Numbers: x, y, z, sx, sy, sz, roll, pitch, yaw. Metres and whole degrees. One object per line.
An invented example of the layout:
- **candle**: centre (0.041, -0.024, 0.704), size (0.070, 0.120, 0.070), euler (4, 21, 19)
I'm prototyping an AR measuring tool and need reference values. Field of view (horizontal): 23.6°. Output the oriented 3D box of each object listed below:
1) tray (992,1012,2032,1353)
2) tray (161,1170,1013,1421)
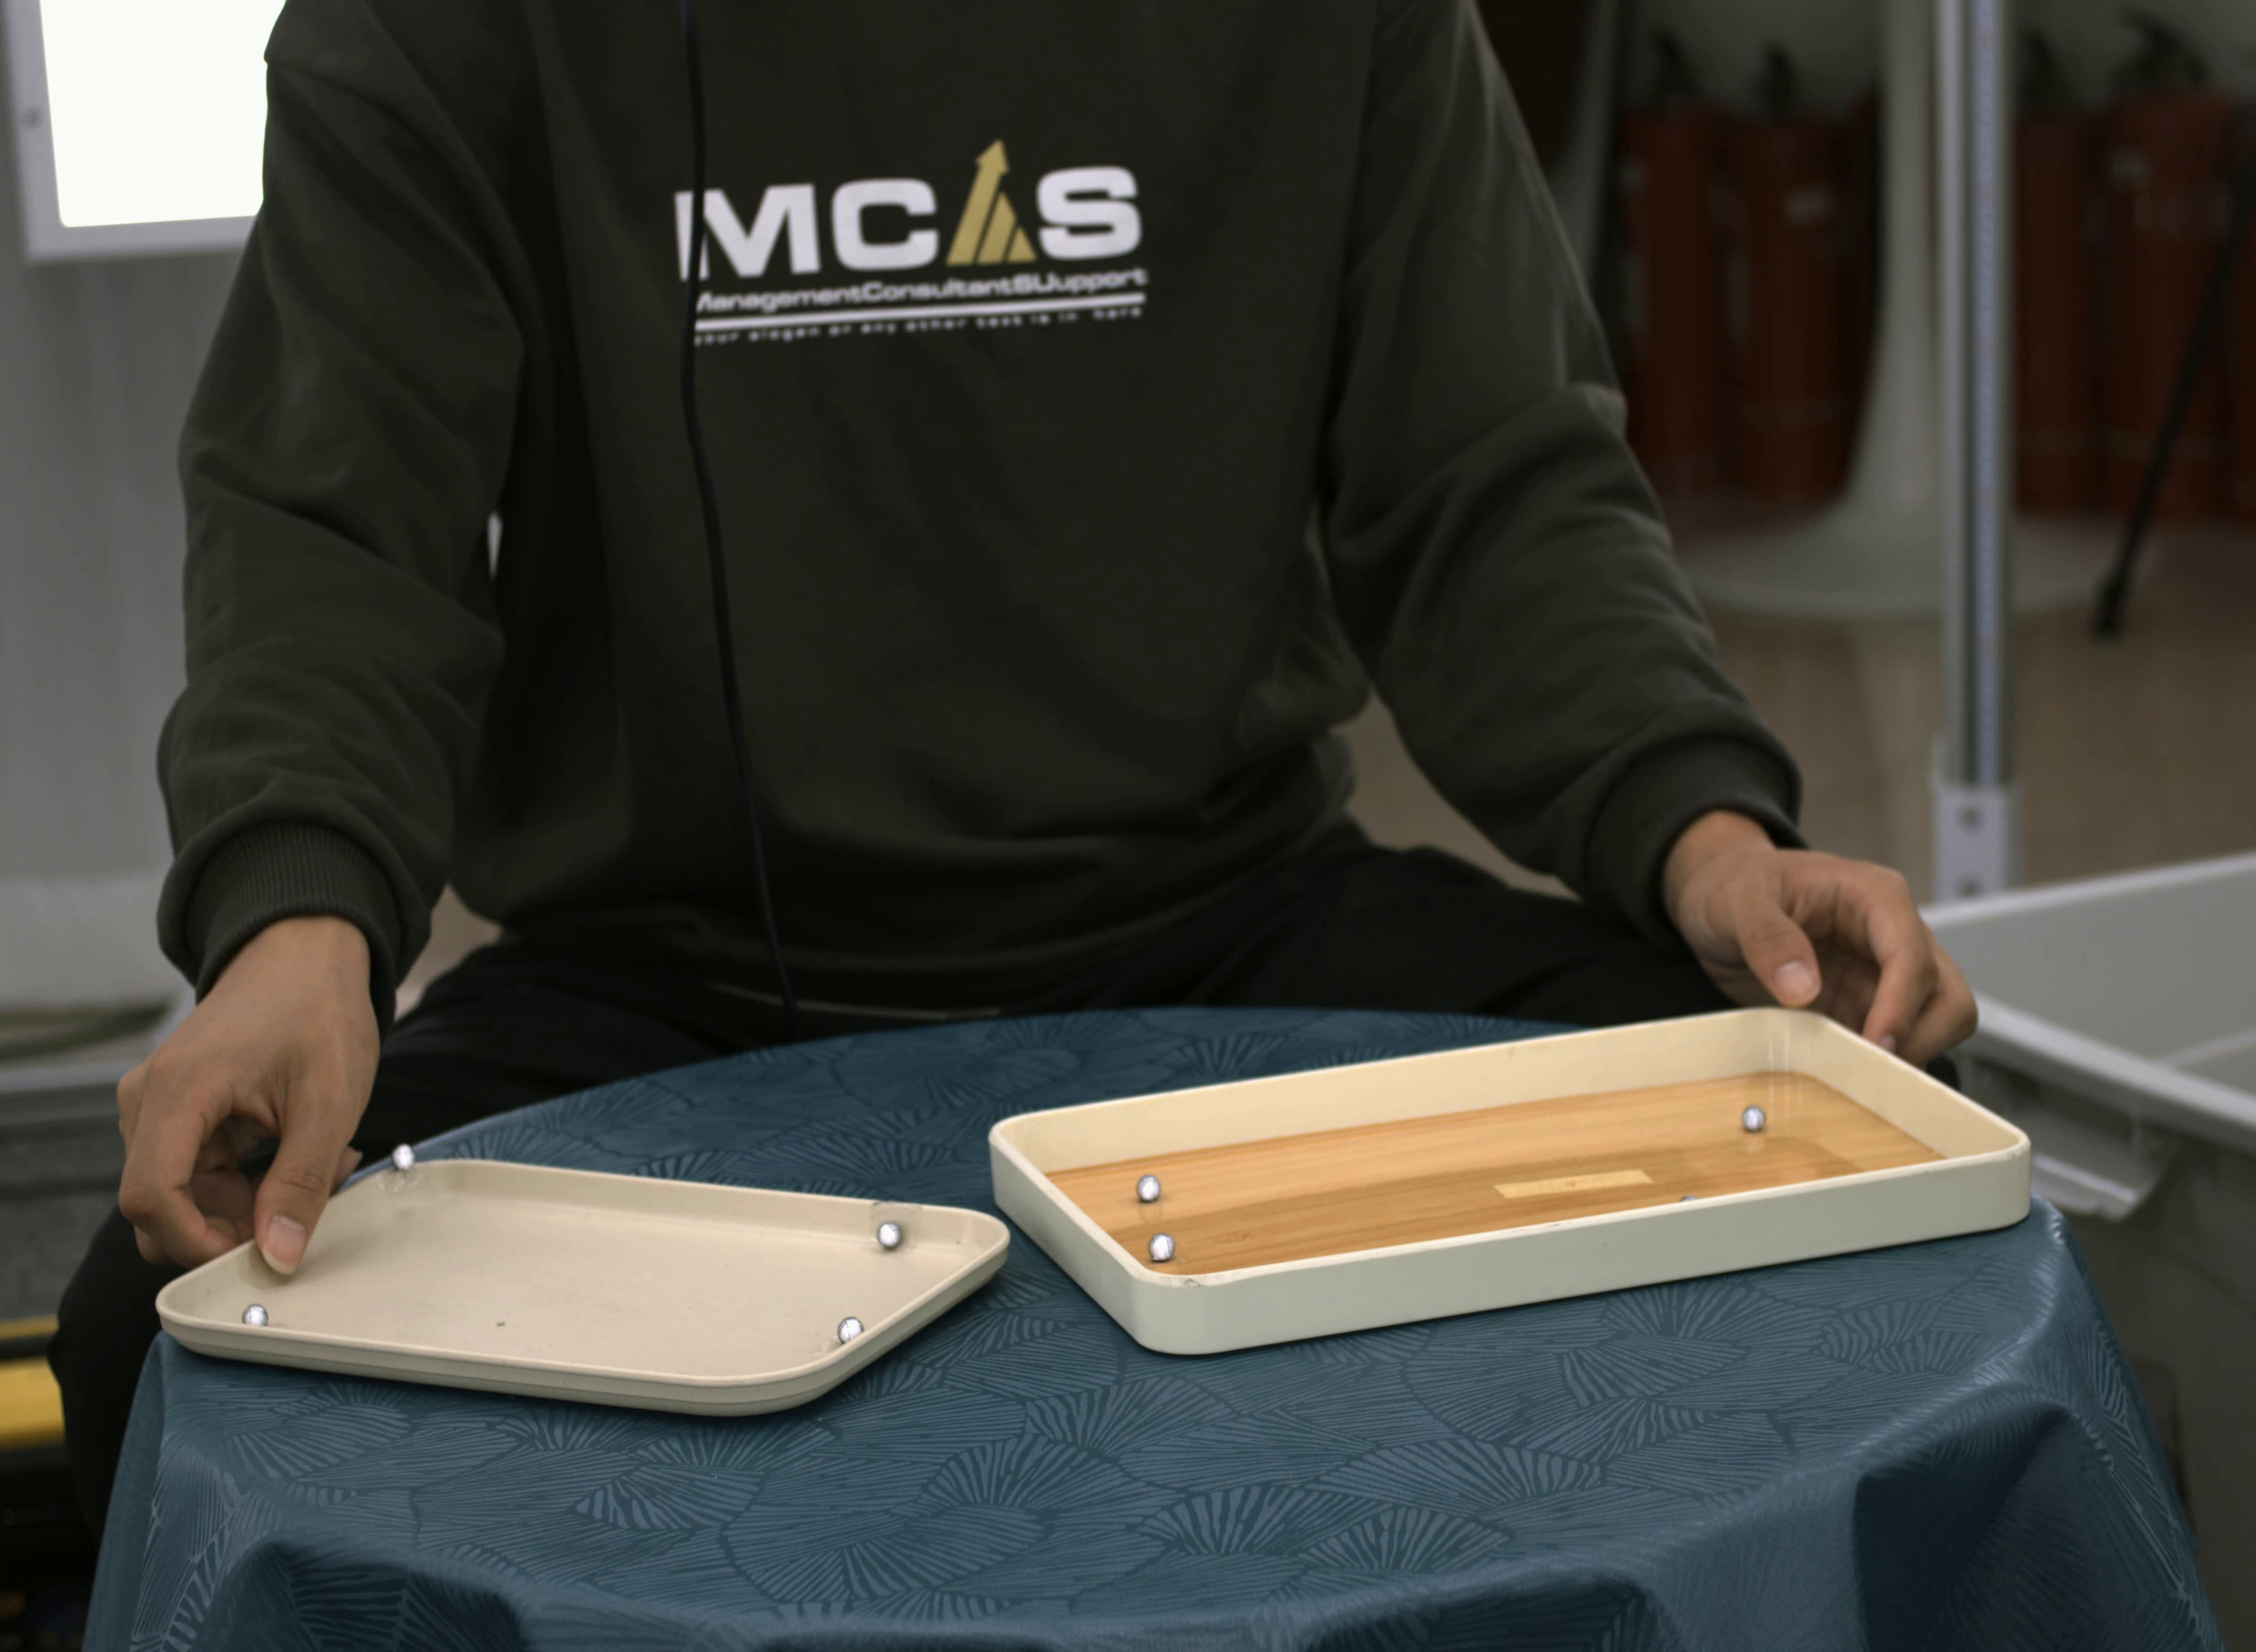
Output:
- **tray**: centre (0.120, 0.112, 1.729), size (0.294, 0.028, 0.193), euler (-7, 13, -16)
- **tray**: centre (-0.167, 0.146, 1.685), size (0.240, 0.017, 0.169), euler (3, 15, 27)
